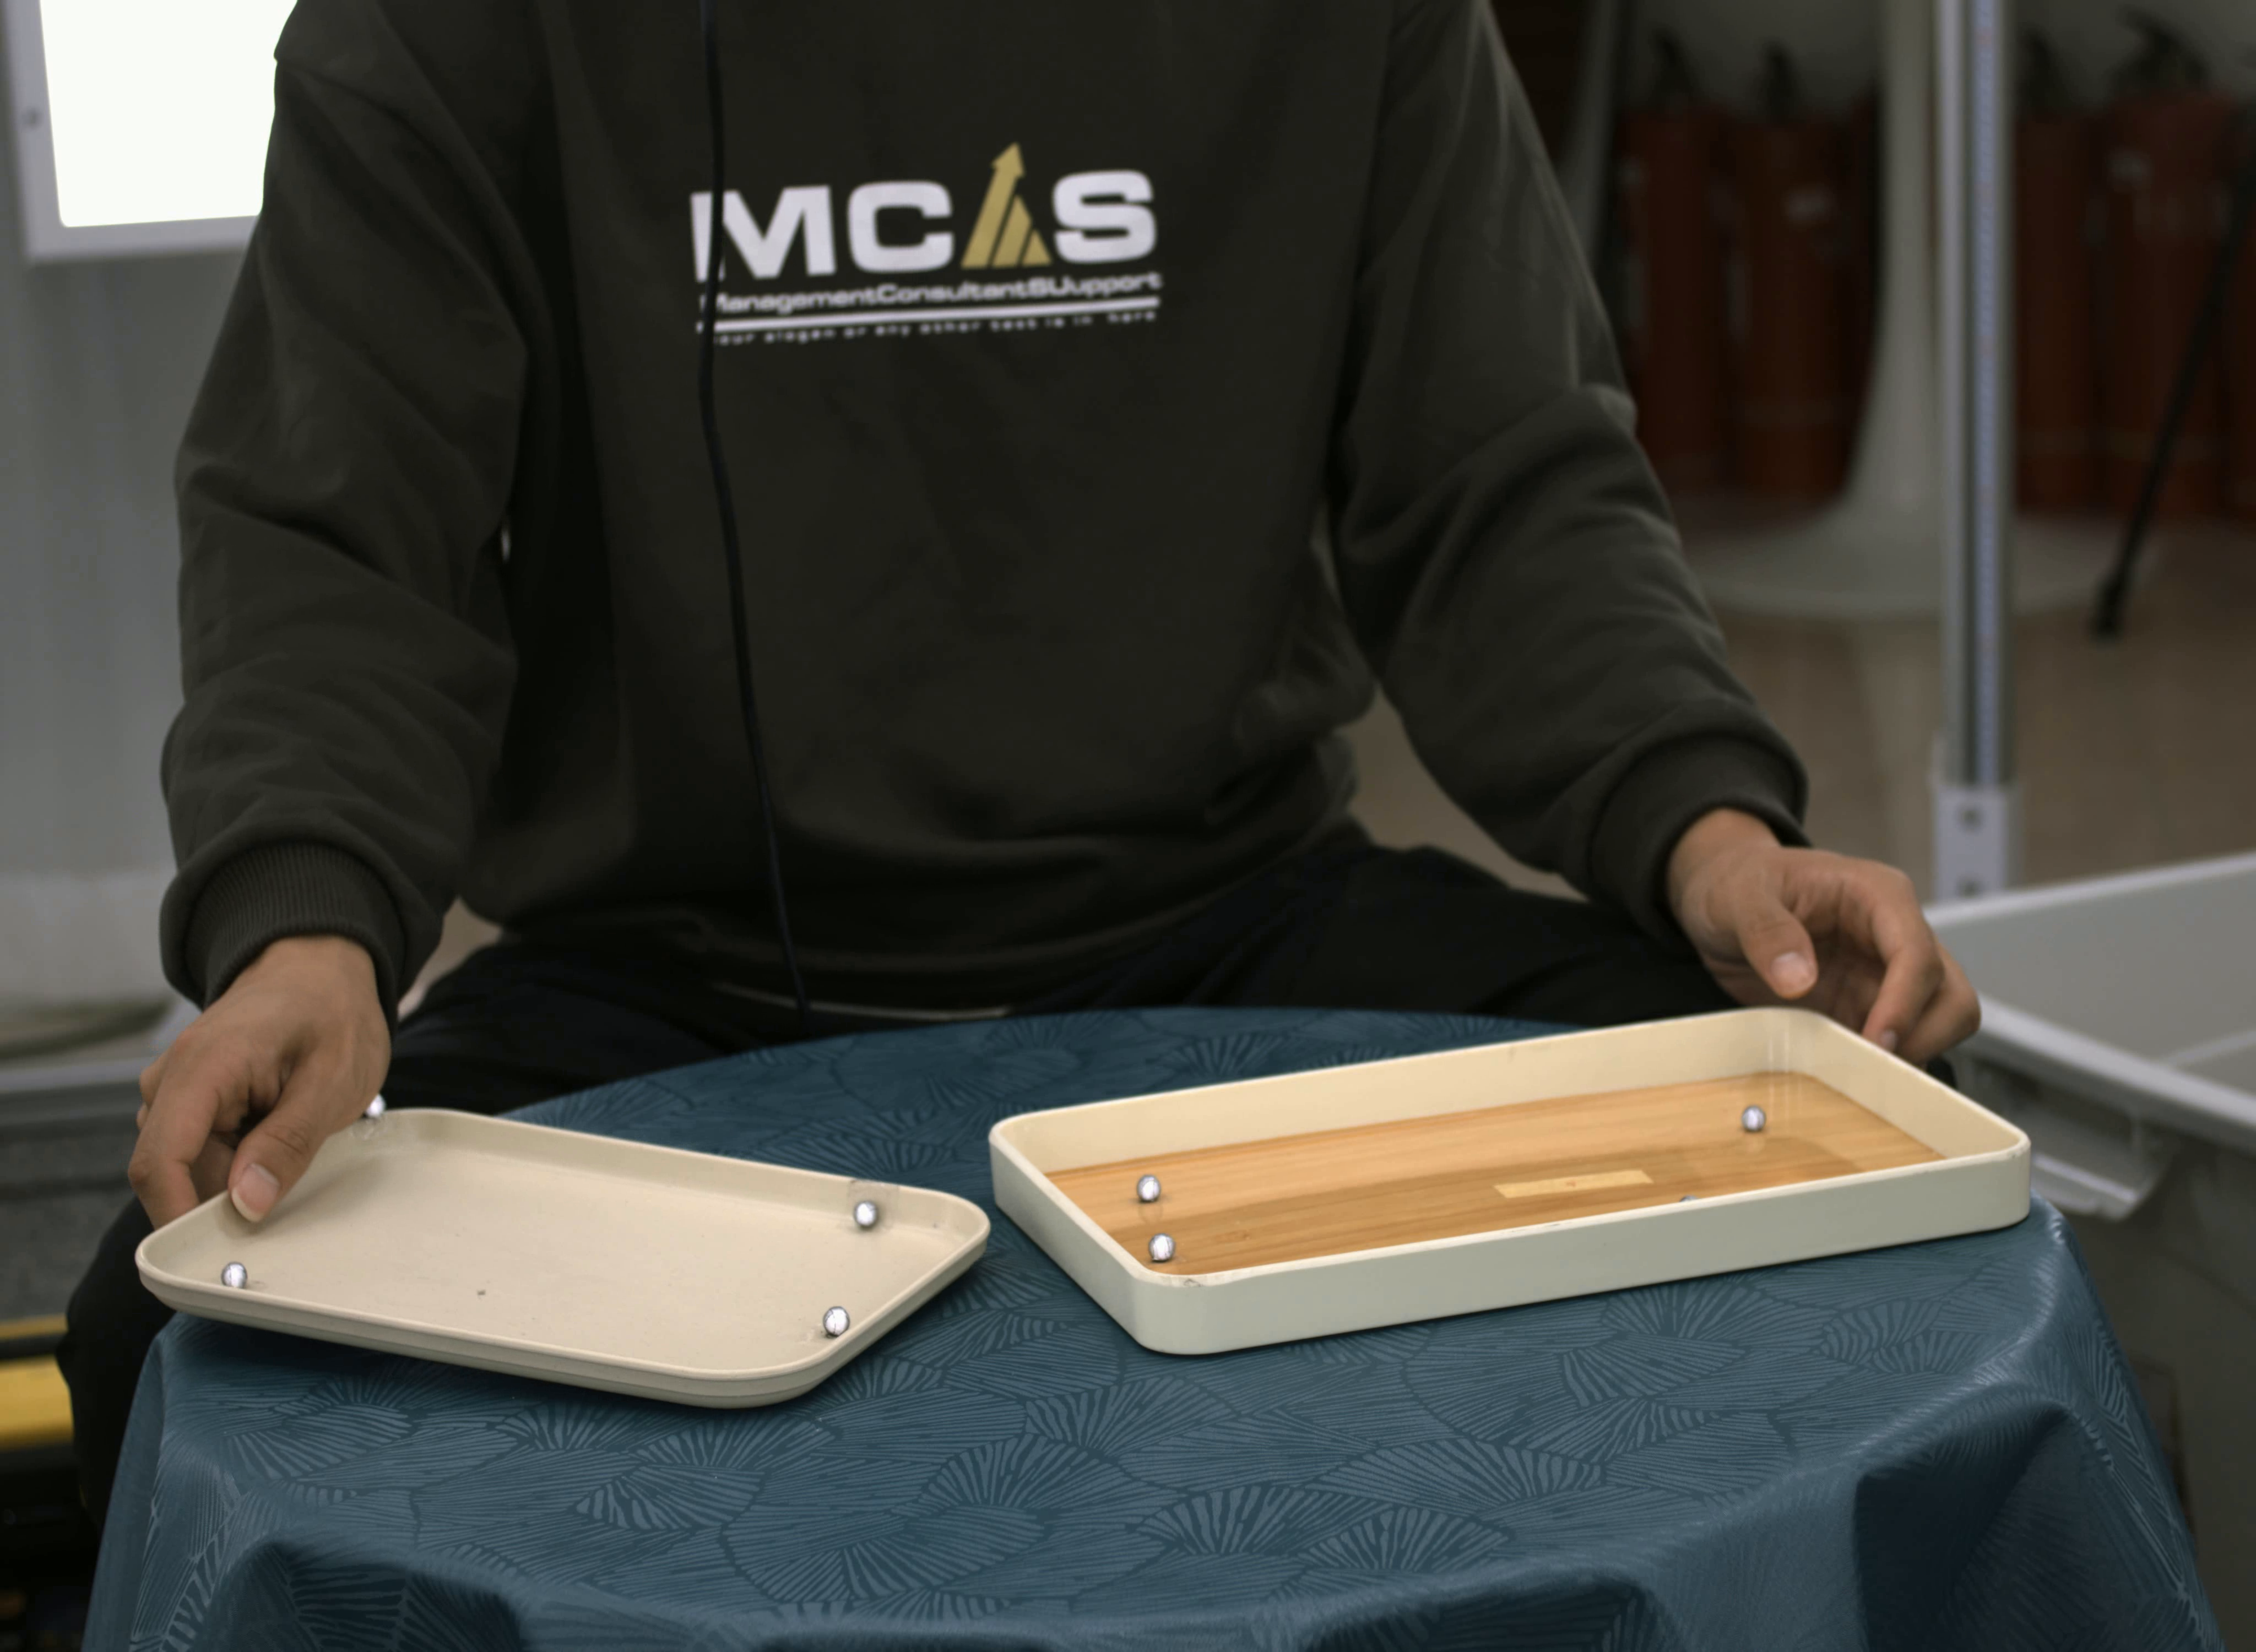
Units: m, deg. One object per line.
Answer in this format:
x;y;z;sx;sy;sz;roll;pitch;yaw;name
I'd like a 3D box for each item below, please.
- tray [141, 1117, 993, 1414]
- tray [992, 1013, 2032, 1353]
-0.173;0.136;1.690;0.240;0.017;0.169;7;18;24;tray
0.120;0.112;1.729;0.294;0.028;0.193;-7;13;-16;tray
